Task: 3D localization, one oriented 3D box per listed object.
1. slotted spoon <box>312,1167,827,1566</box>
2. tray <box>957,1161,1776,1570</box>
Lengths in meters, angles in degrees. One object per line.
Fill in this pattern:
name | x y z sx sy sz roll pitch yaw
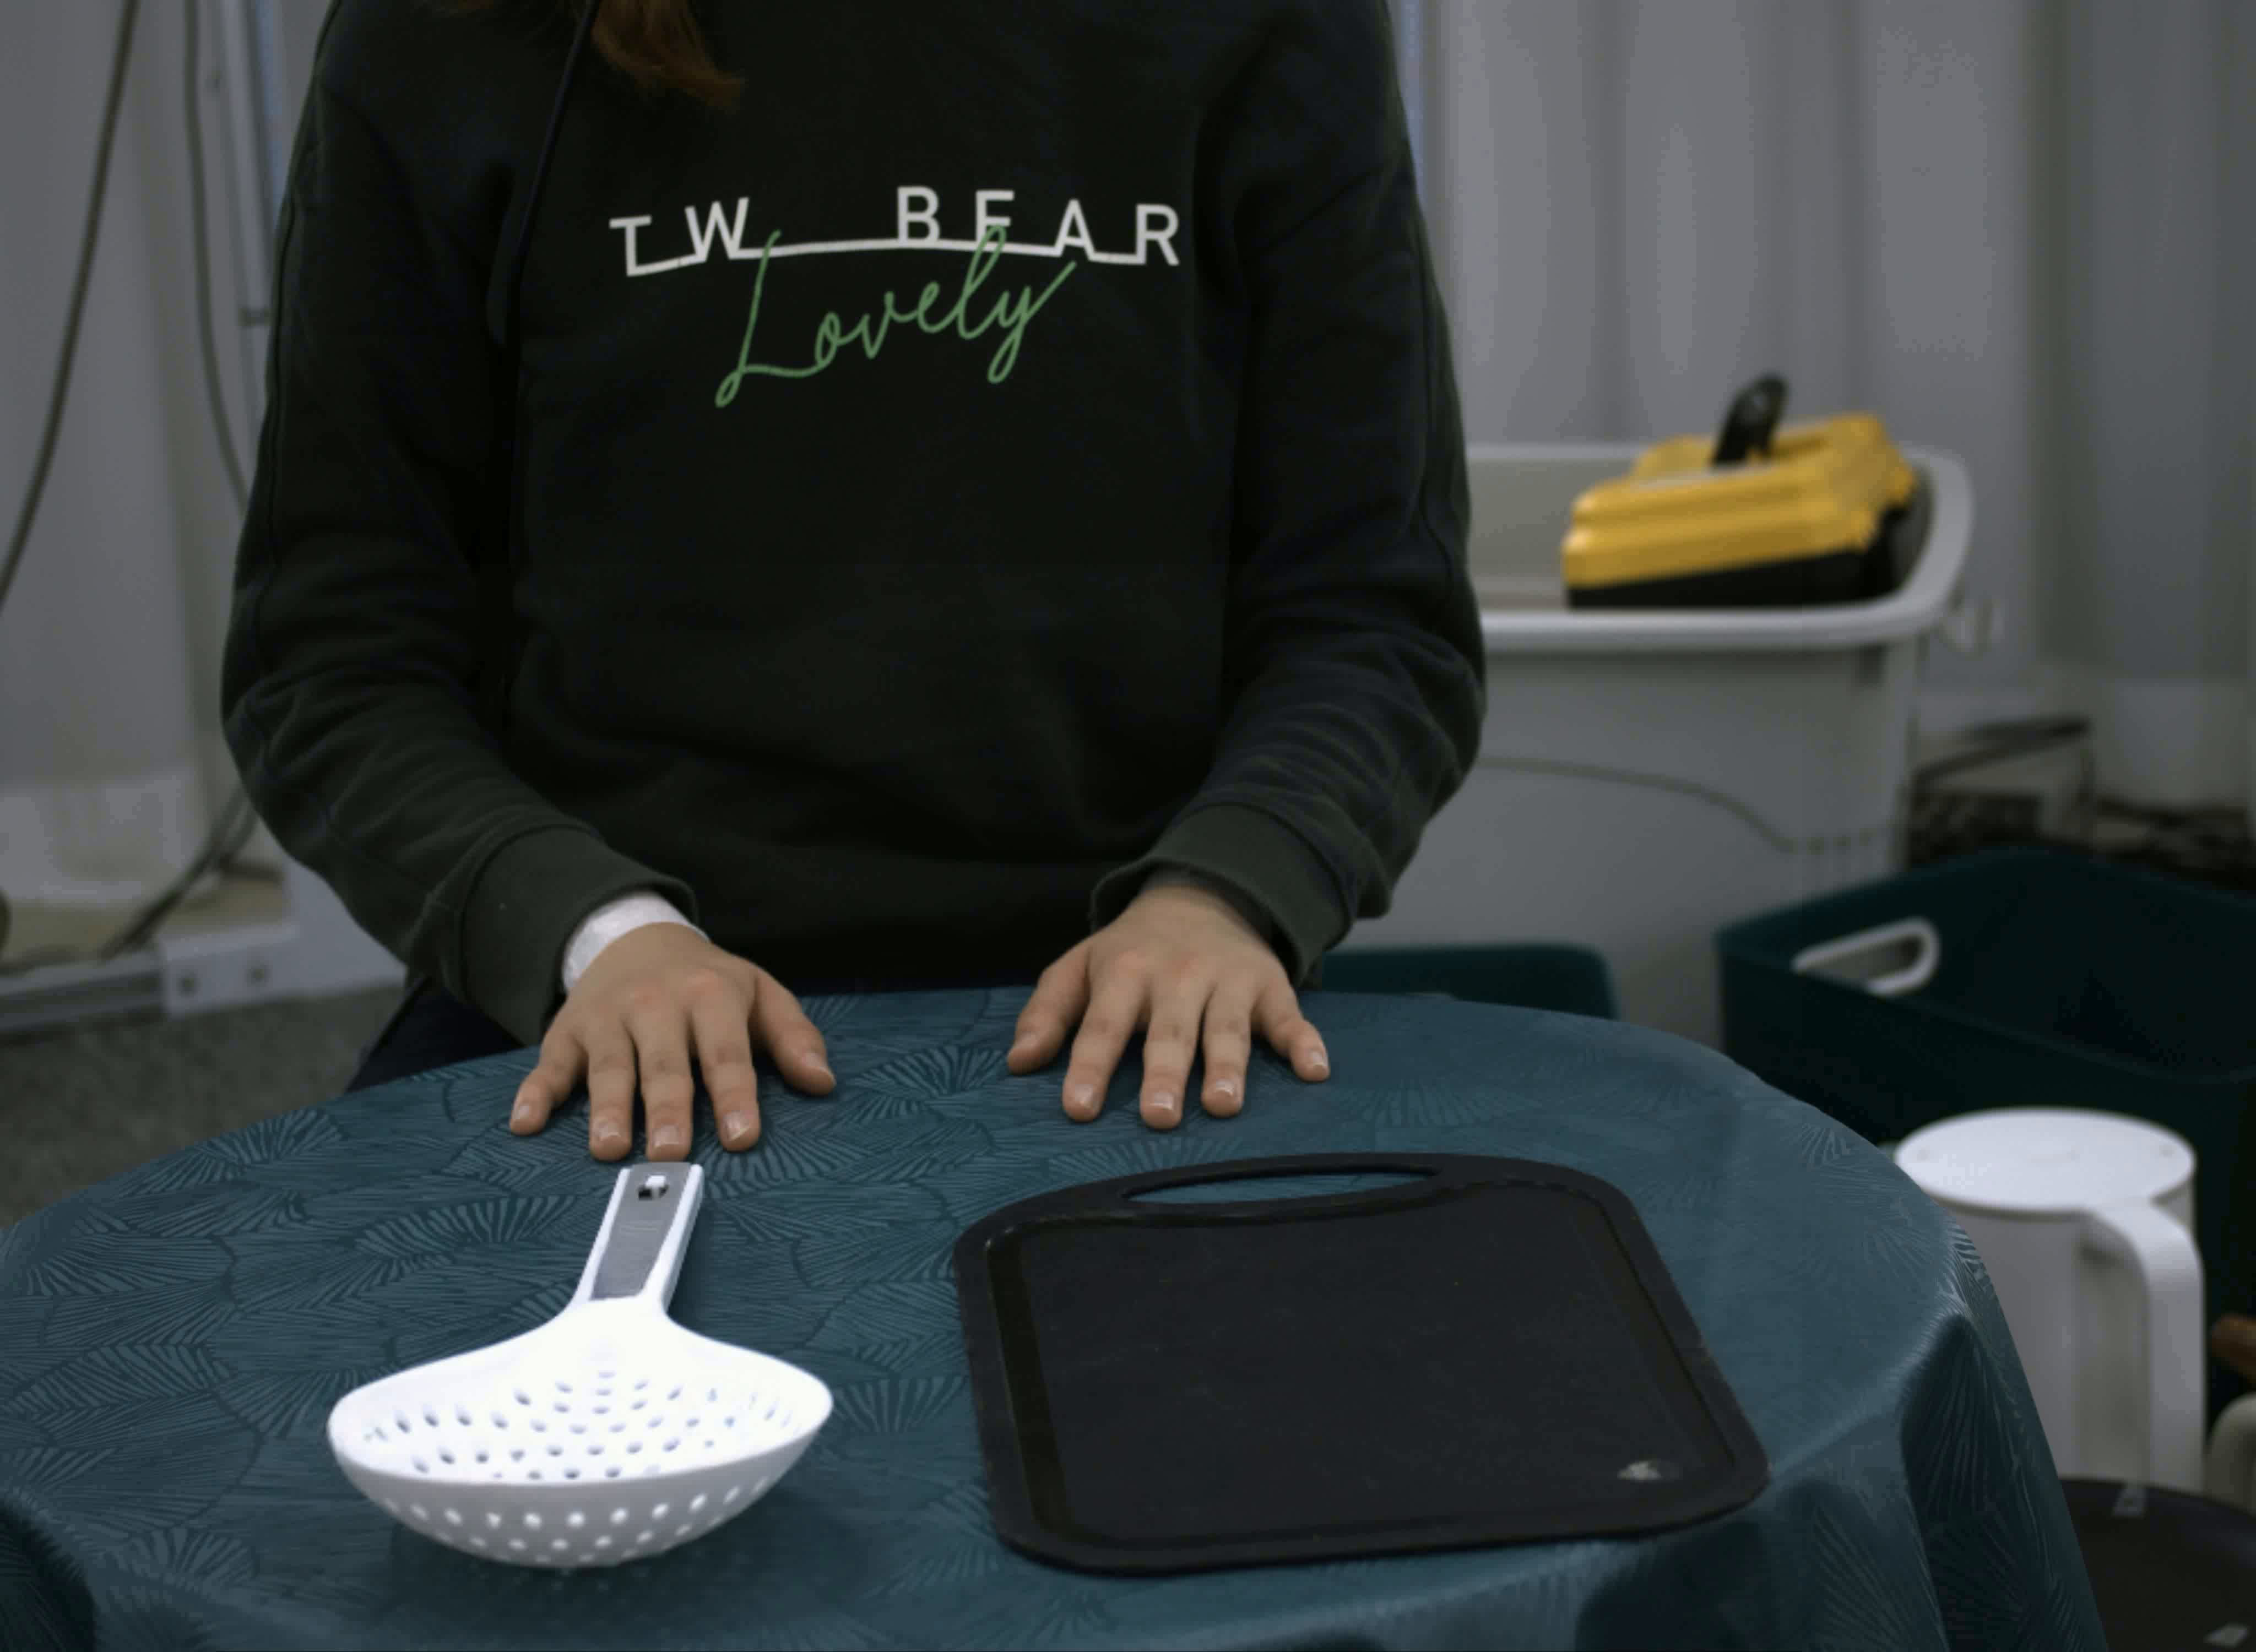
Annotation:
slotted spoon | -0.146 0.143 1.547 0.135 0.045 0.352 0 14 0
tray | 0.059 0.147 1.569 0.210 0.010 0.328 -3 15 -4
